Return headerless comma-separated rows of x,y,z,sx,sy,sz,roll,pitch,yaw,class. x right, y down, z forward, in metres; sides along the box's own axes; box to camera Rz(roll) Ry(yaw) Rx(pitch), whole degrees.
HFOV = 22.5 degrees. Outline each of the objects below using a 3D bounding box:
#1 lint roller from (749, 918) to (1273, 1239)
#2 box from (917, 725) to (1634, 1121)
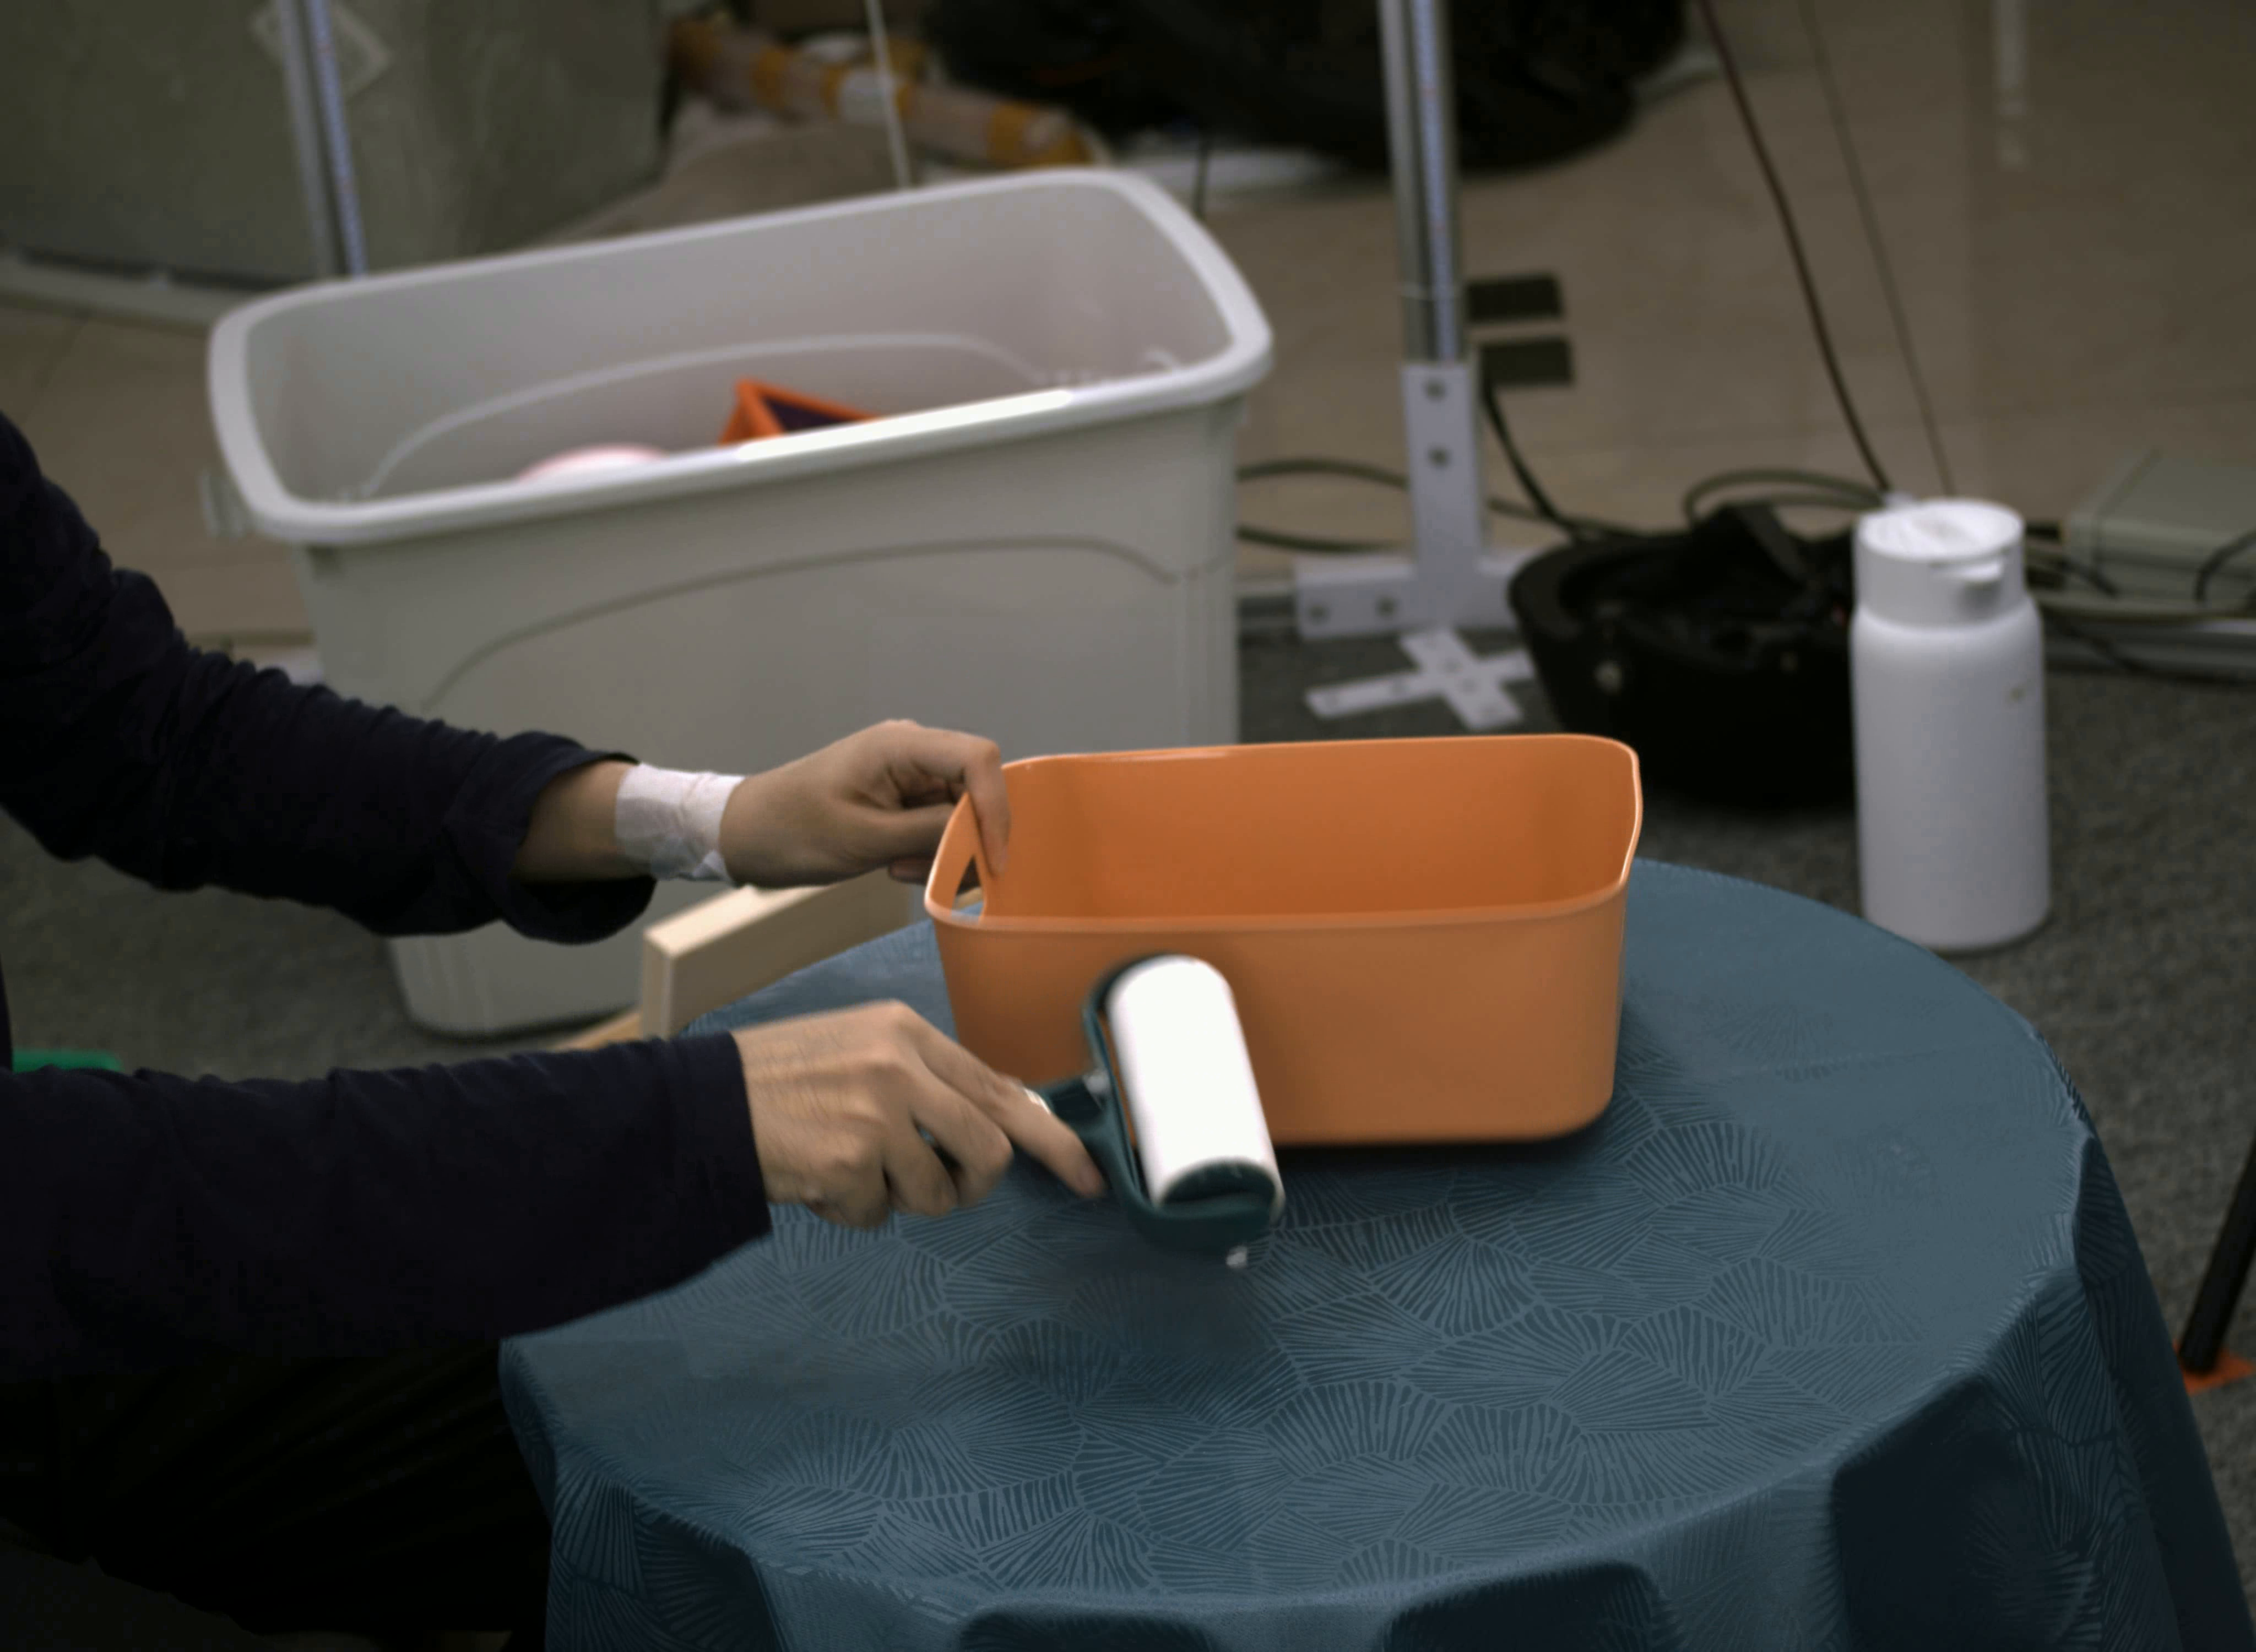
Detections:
-0.046,0.097,2.035,0.180,0.049,0.132,-5,46,-12,lint roller
0.063,0.040,2.196,0.273,0.104,0.197,-3,18,8,box
